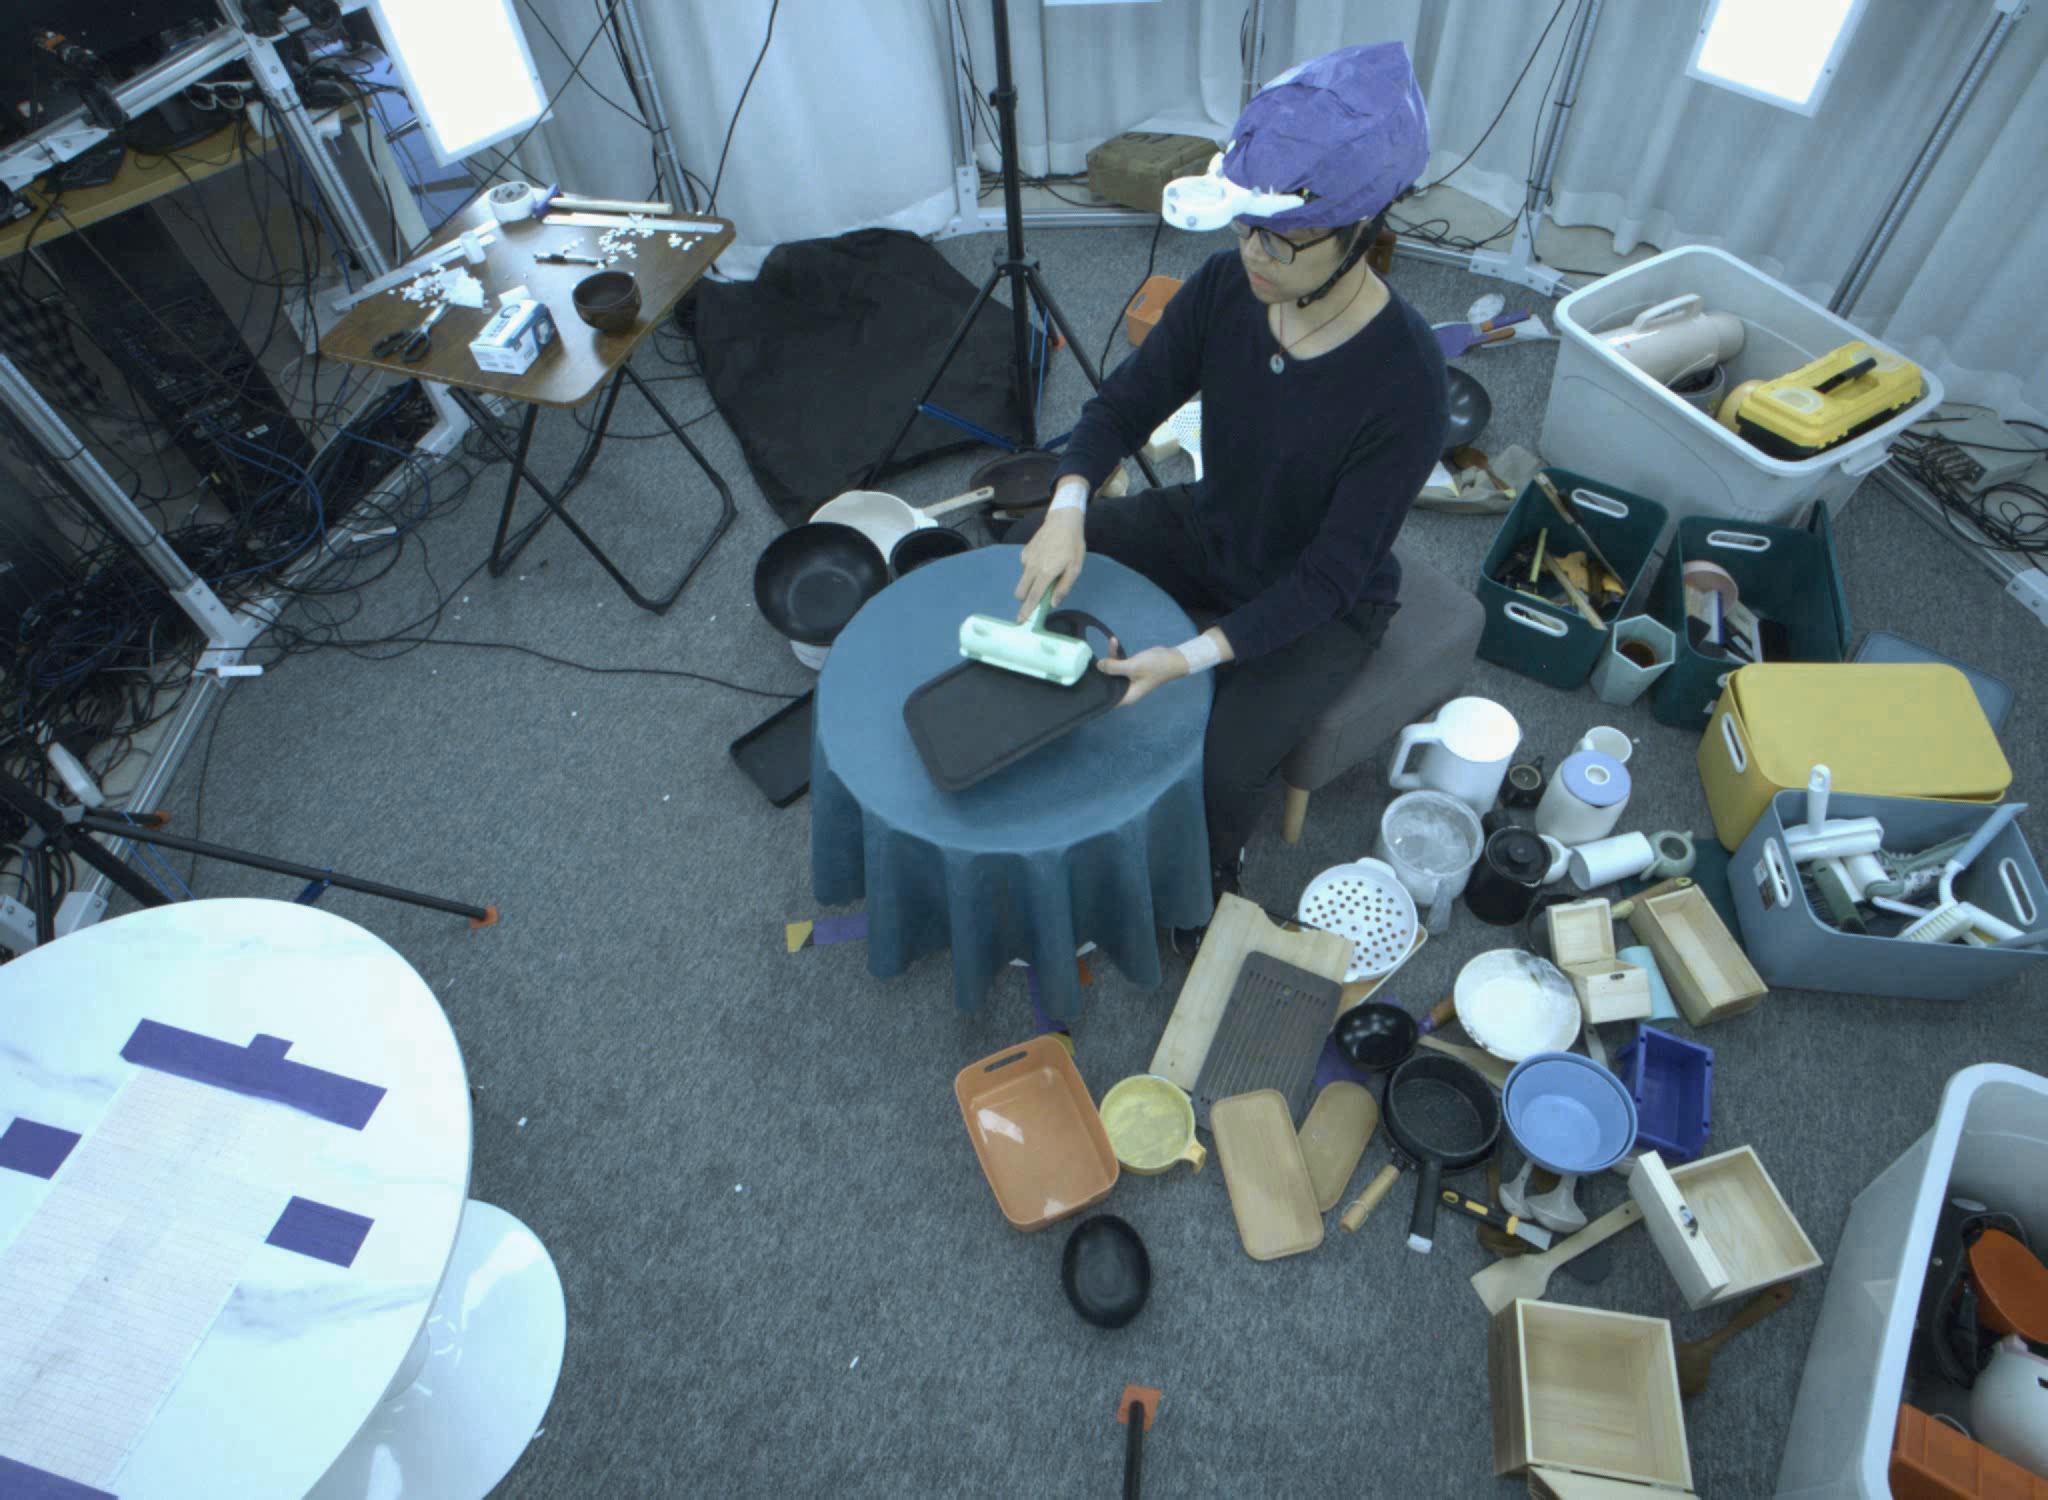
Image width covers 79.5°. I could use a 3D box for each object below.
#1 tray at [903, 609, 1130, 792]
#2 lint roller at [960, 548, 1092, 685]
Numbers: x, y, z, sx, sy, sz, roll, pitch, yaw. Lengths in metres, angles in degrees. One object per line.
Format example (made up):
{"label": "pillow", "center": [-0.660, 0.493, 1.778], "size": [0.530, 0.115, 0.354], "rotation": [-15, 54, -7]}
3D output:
{"label": "tray", "center": [-0.010, -0.079, 1.737], "size": [0.325, 0.010, 0.207], "rotation": [-29, 54, 0]}
{"label": "lint roller", "center": [0.009, -0.201, 1.733], "size": [0.195, 0.083, 0.183], "rotation": [17, 97, 27]}
